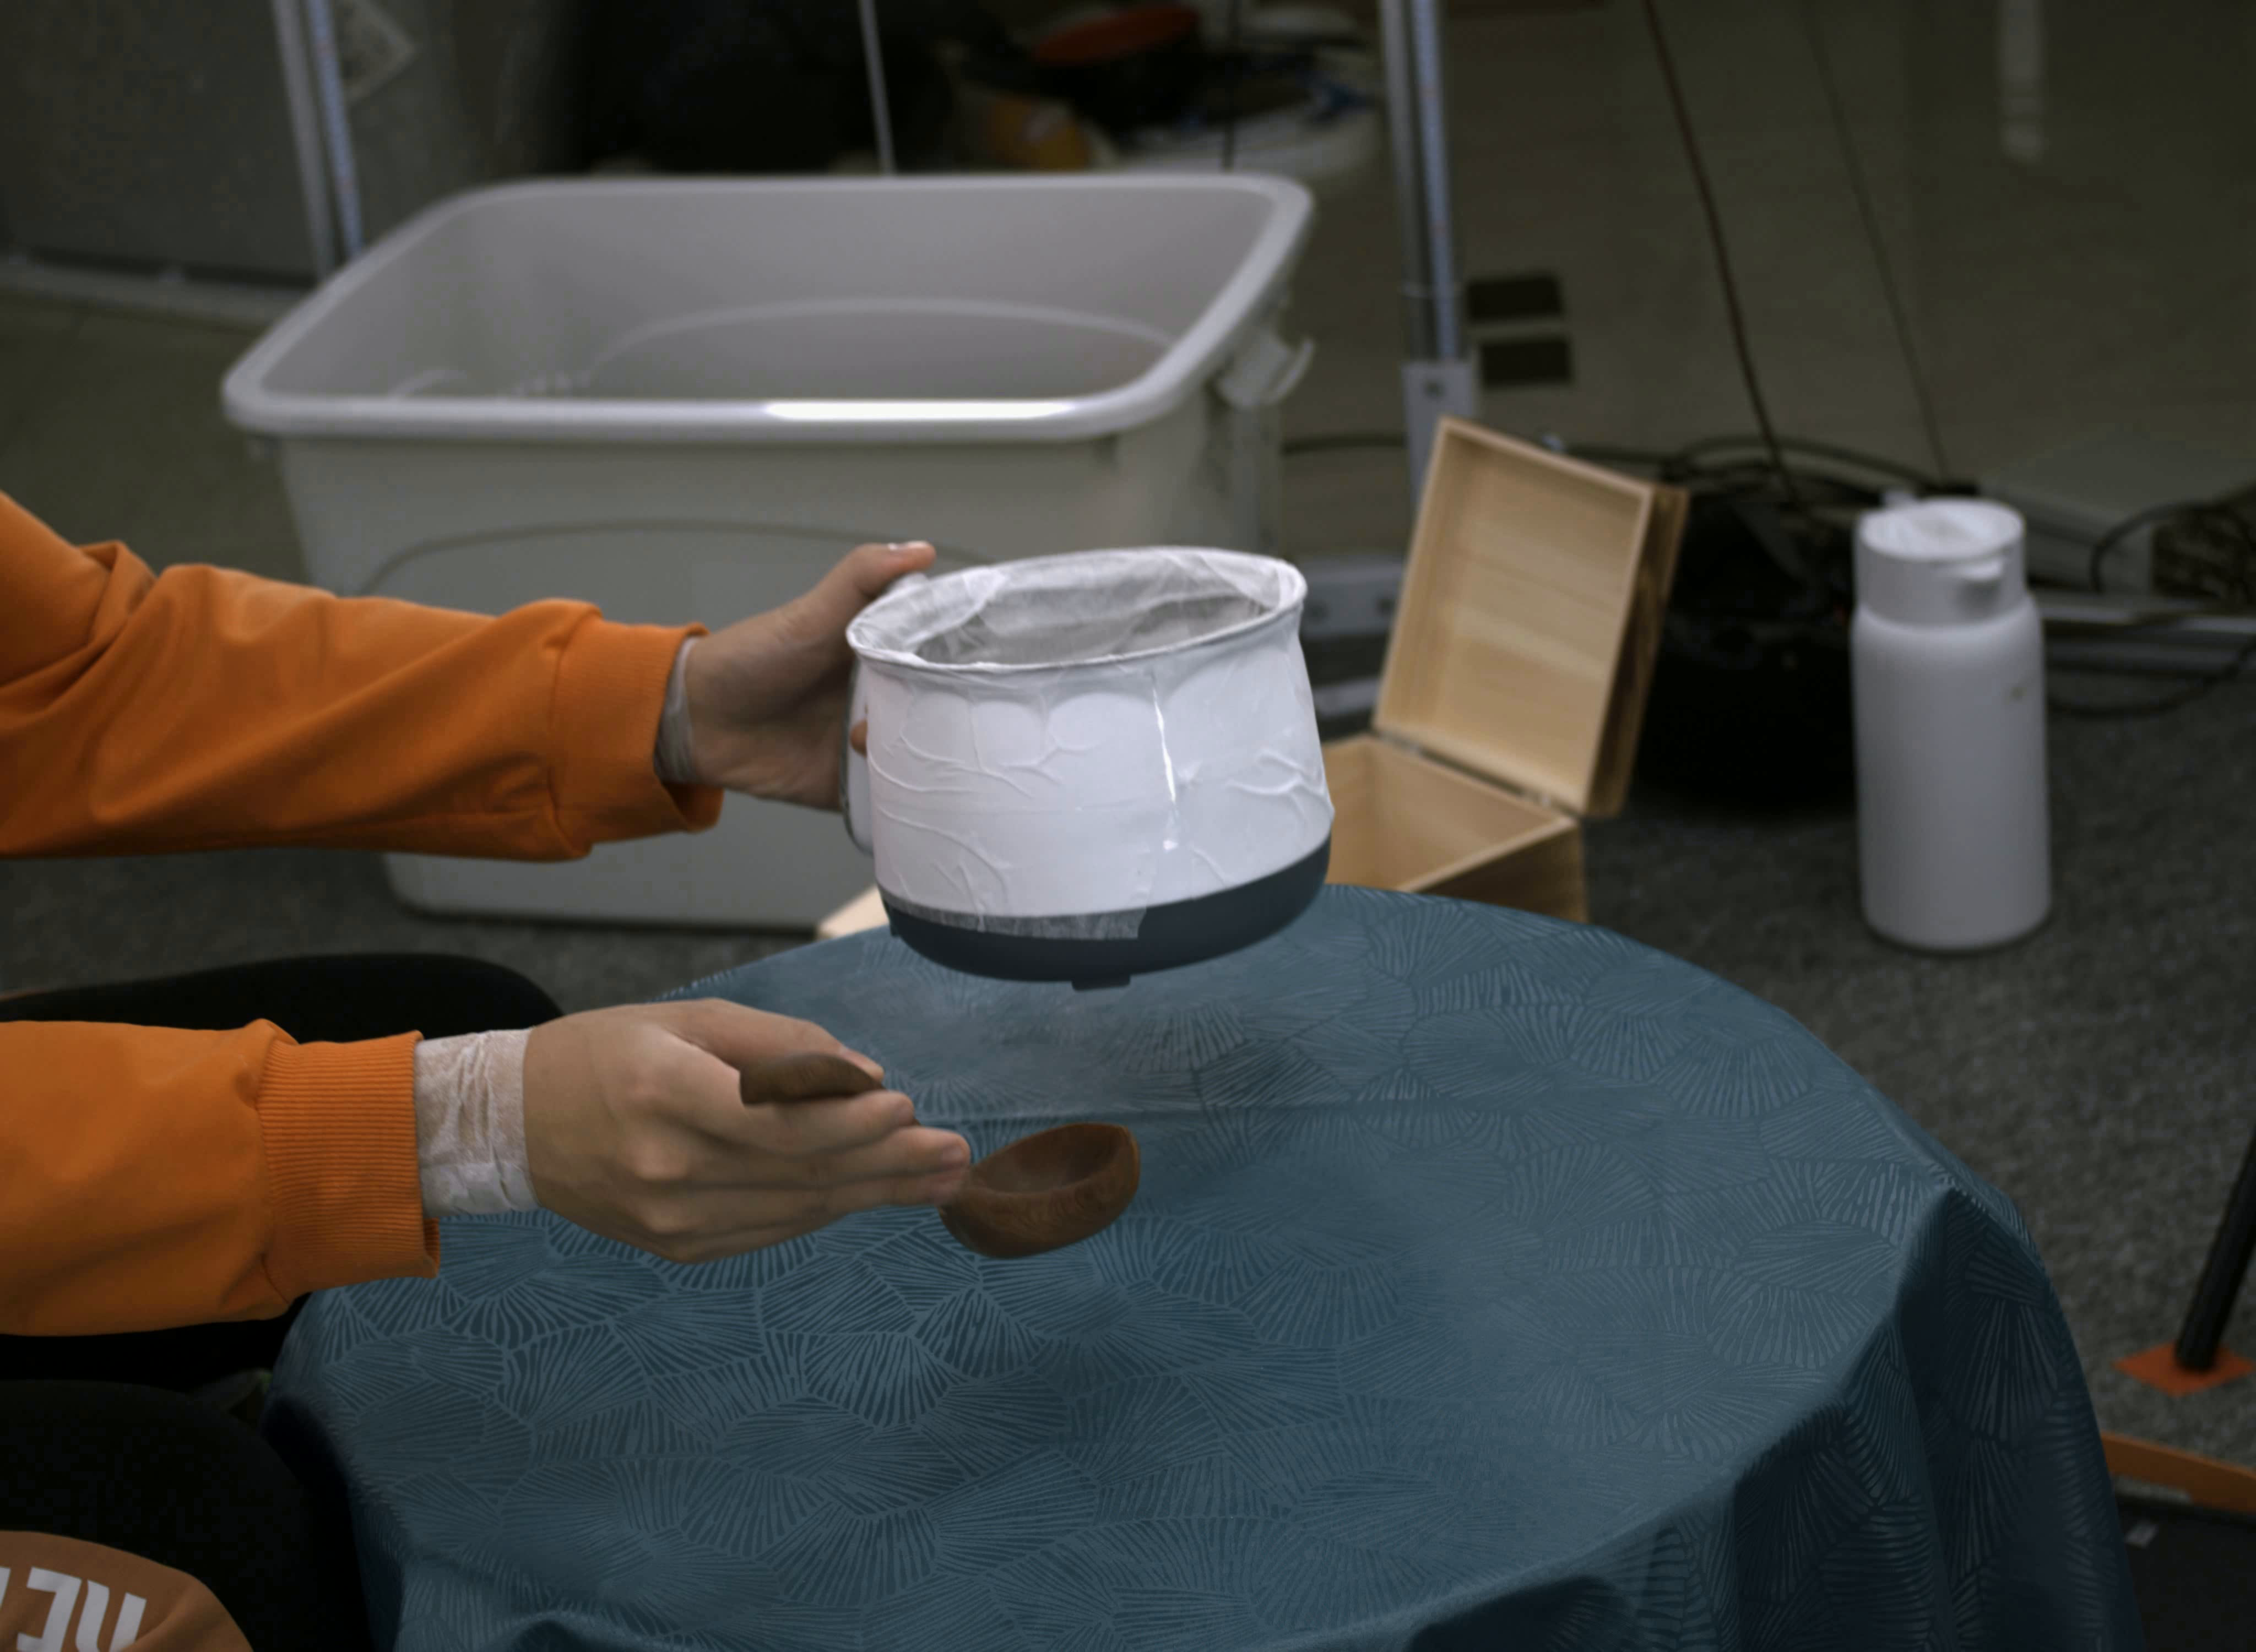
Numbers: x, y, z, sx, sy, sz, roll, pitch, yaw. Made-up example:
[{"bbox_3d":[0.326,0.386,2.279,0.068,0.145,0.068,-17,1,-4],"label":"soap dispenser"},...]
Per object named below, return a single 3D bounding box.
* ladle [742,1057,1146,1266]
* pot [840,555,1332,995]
[{"bbox_3d":[-0.068,0.099,1.921,0.076,0.263,0.064,-19,65,18],"label":"ladle"},{"bbox_3d":[-0.031,-0.024,2.188,0.177,0.138,0.232,-19,21,-40],"label":"pot"}]
